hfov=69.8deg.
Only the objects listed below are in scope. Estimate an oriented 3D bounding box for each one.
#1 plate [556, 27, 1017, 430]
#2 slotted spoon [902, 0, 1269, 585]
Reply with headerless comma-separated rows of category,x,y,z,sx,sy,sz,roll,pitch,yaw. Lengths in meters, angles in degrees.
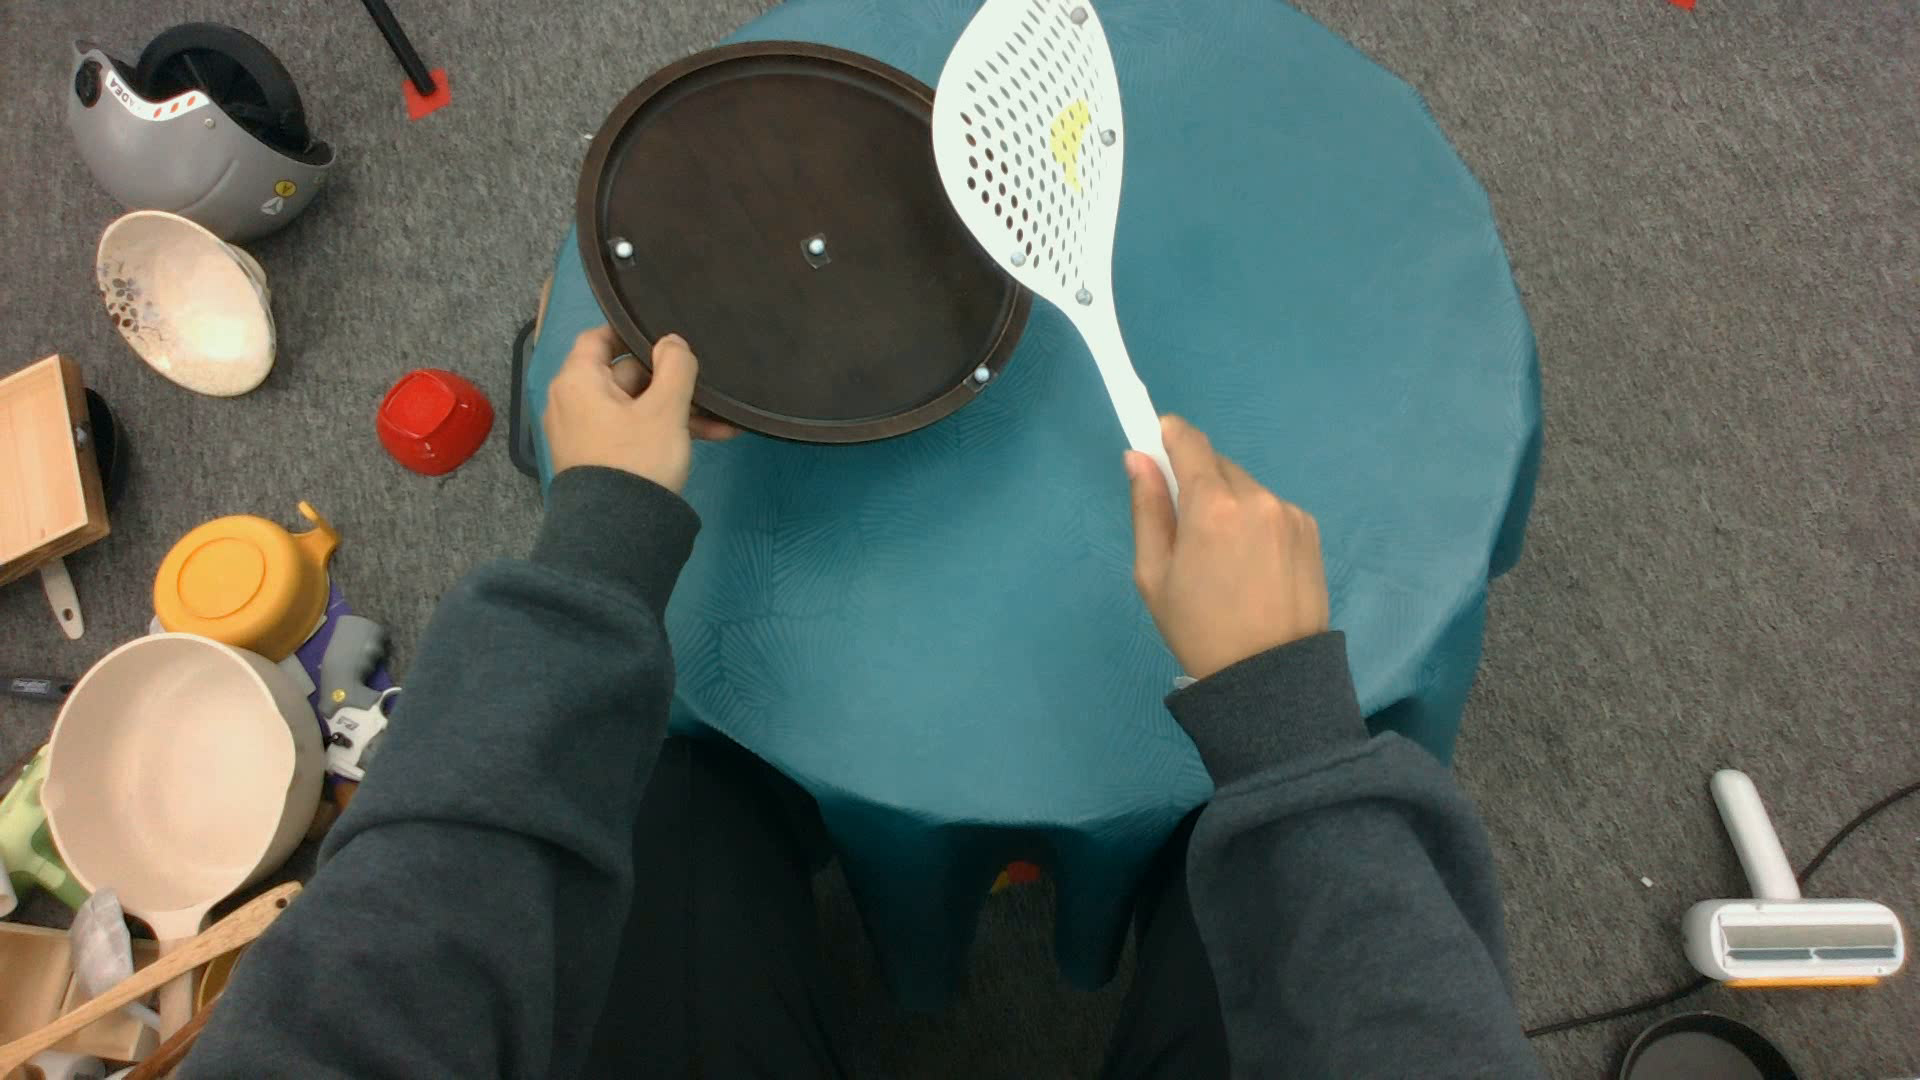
plate,-0.091,-0.175,0.759,0.255,0.029,0.255,6,69,-16
slotted spoon,0.064,-0.132,0.682,0.050,0.136,0.348,-2,65,-39
